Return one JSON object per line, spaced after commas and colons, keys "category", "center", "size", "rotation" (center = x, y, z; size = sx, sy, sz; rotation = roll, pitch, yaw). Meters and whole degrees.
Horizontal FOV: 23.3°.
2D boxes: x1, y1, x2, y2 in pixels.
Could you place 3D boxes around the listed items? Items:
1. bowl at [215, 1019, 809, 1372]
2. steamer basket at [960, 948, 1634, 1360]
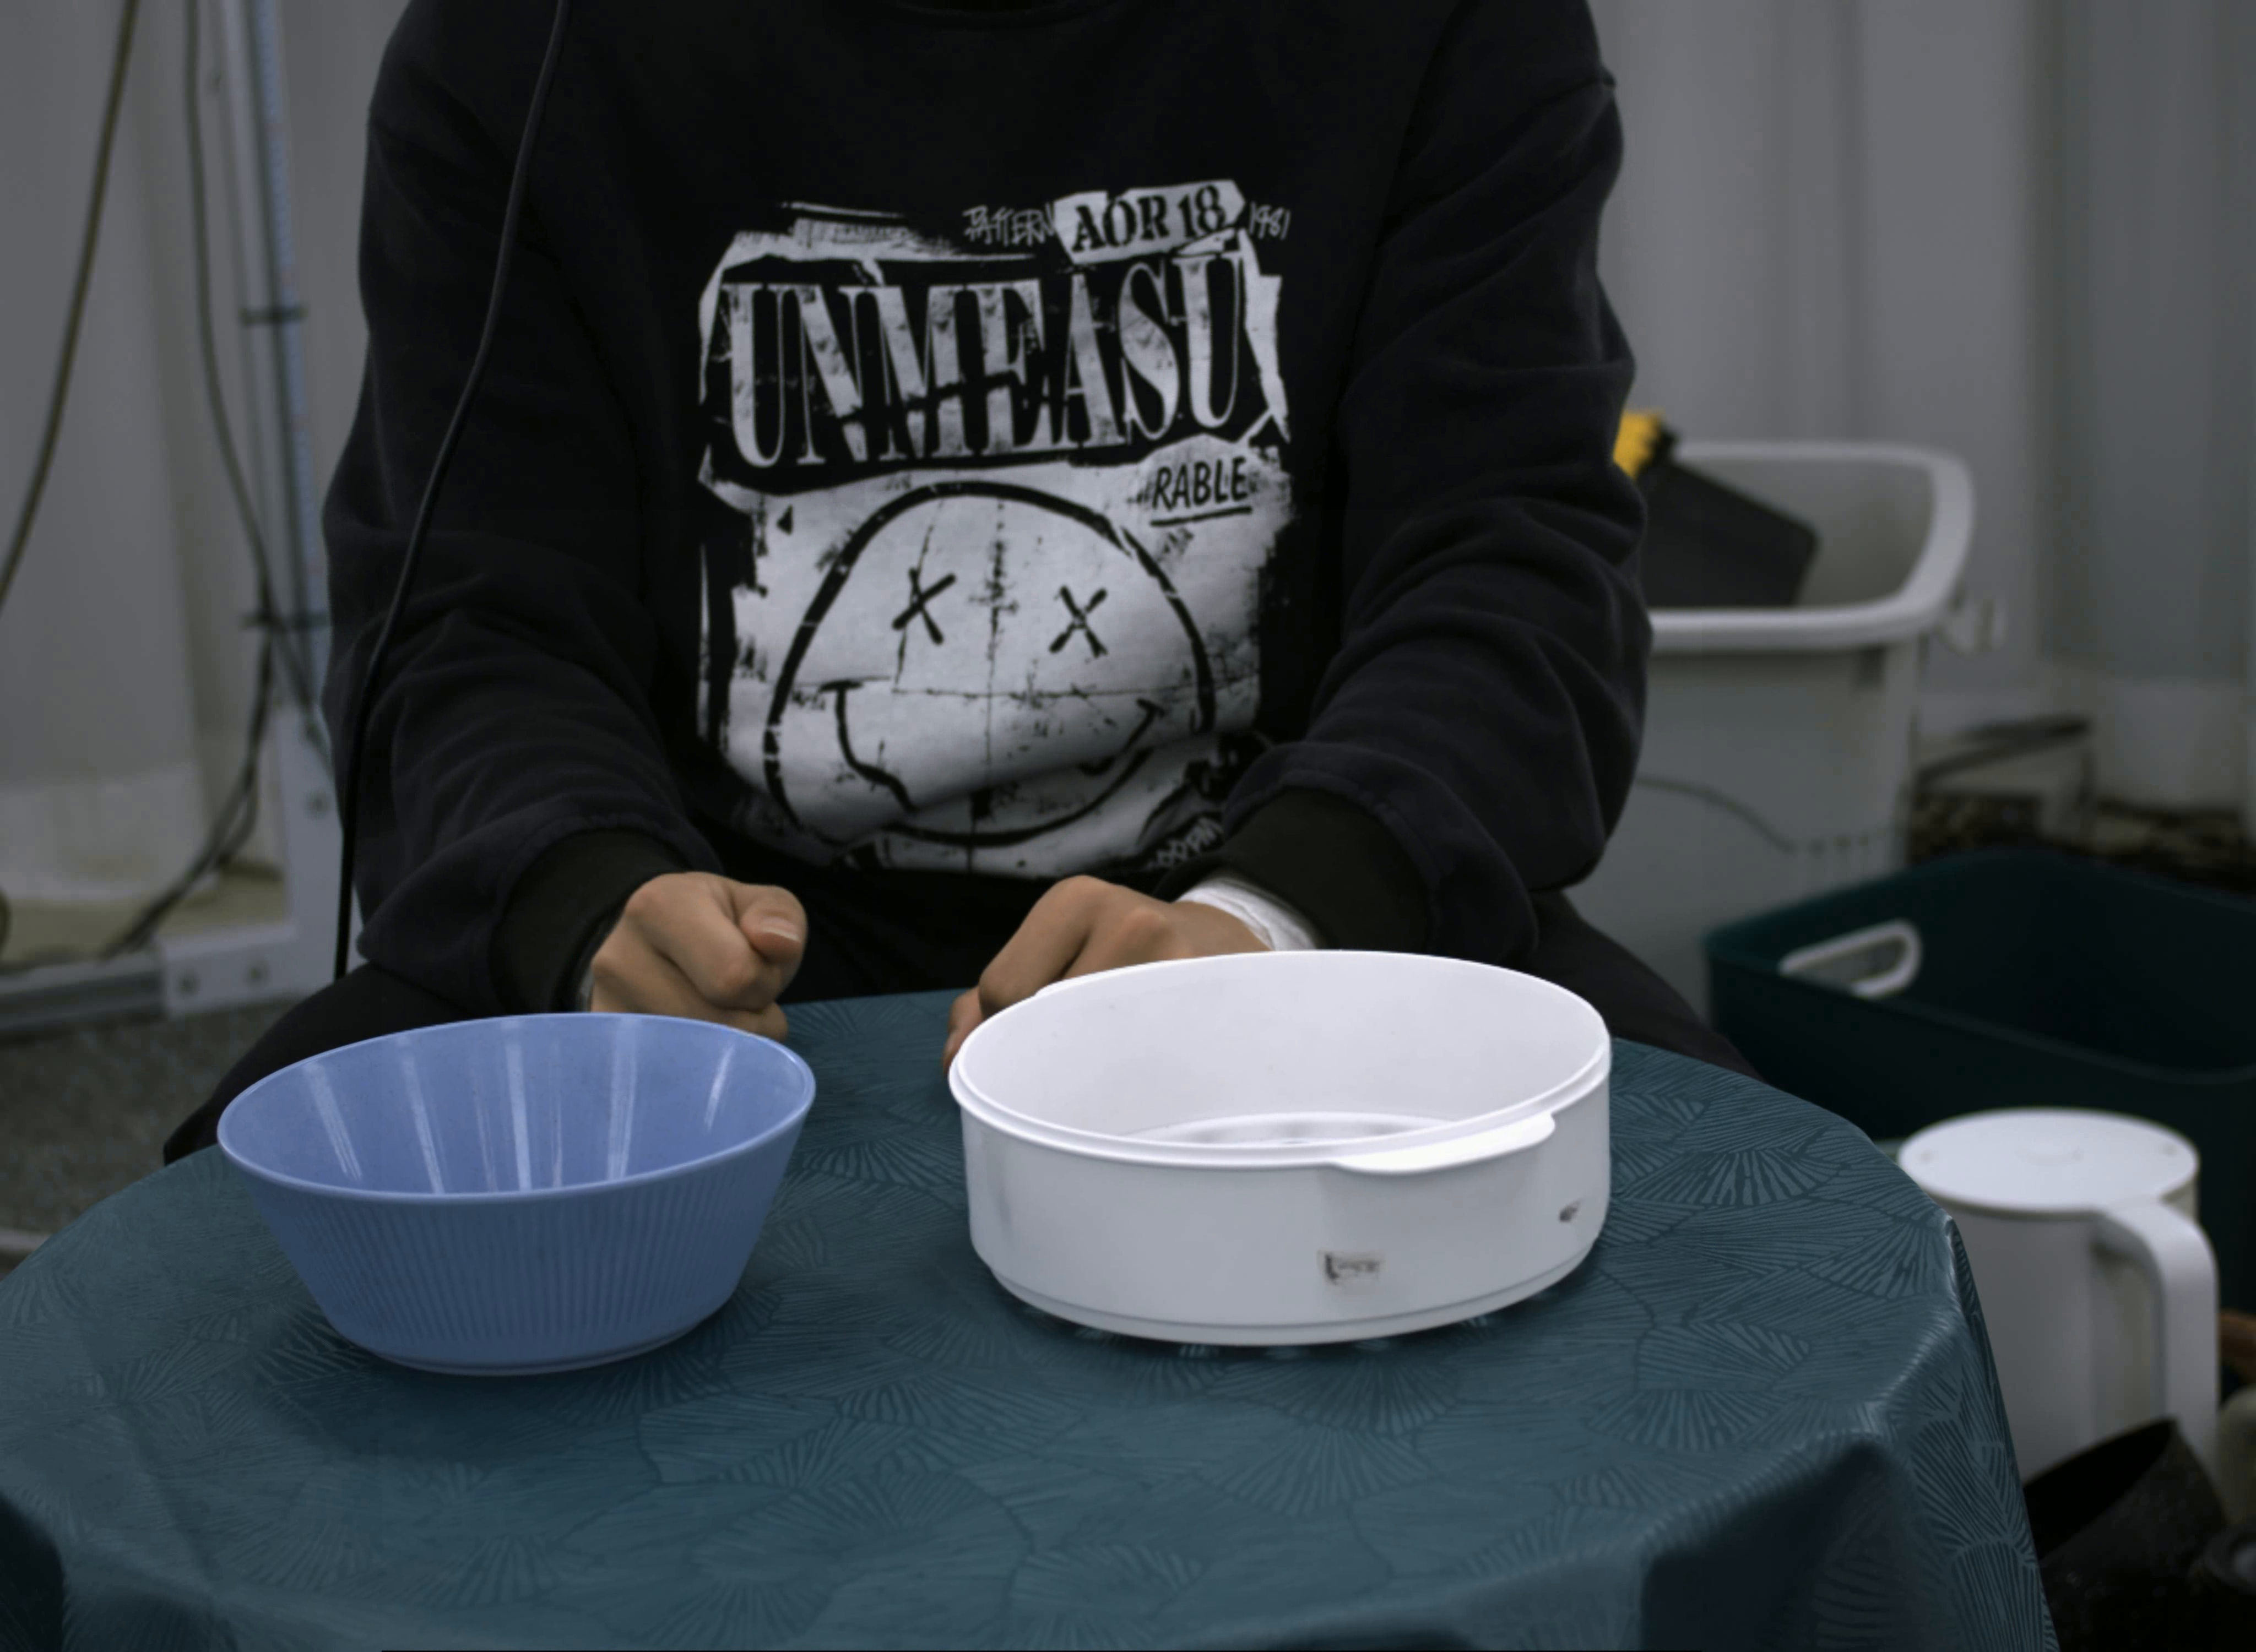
{"category": "bowl", "center": [-0.180, 0.112, 1.623], "size": [0.175, 0.070, 0.177], "rotation": [-2, 14, 0]}
{"category": "steamer basket", "center": [0.051, 0.098, 1.637], "size": [0.201, 0.069, 0.232], "rotation": [-10, 19, -26]}
